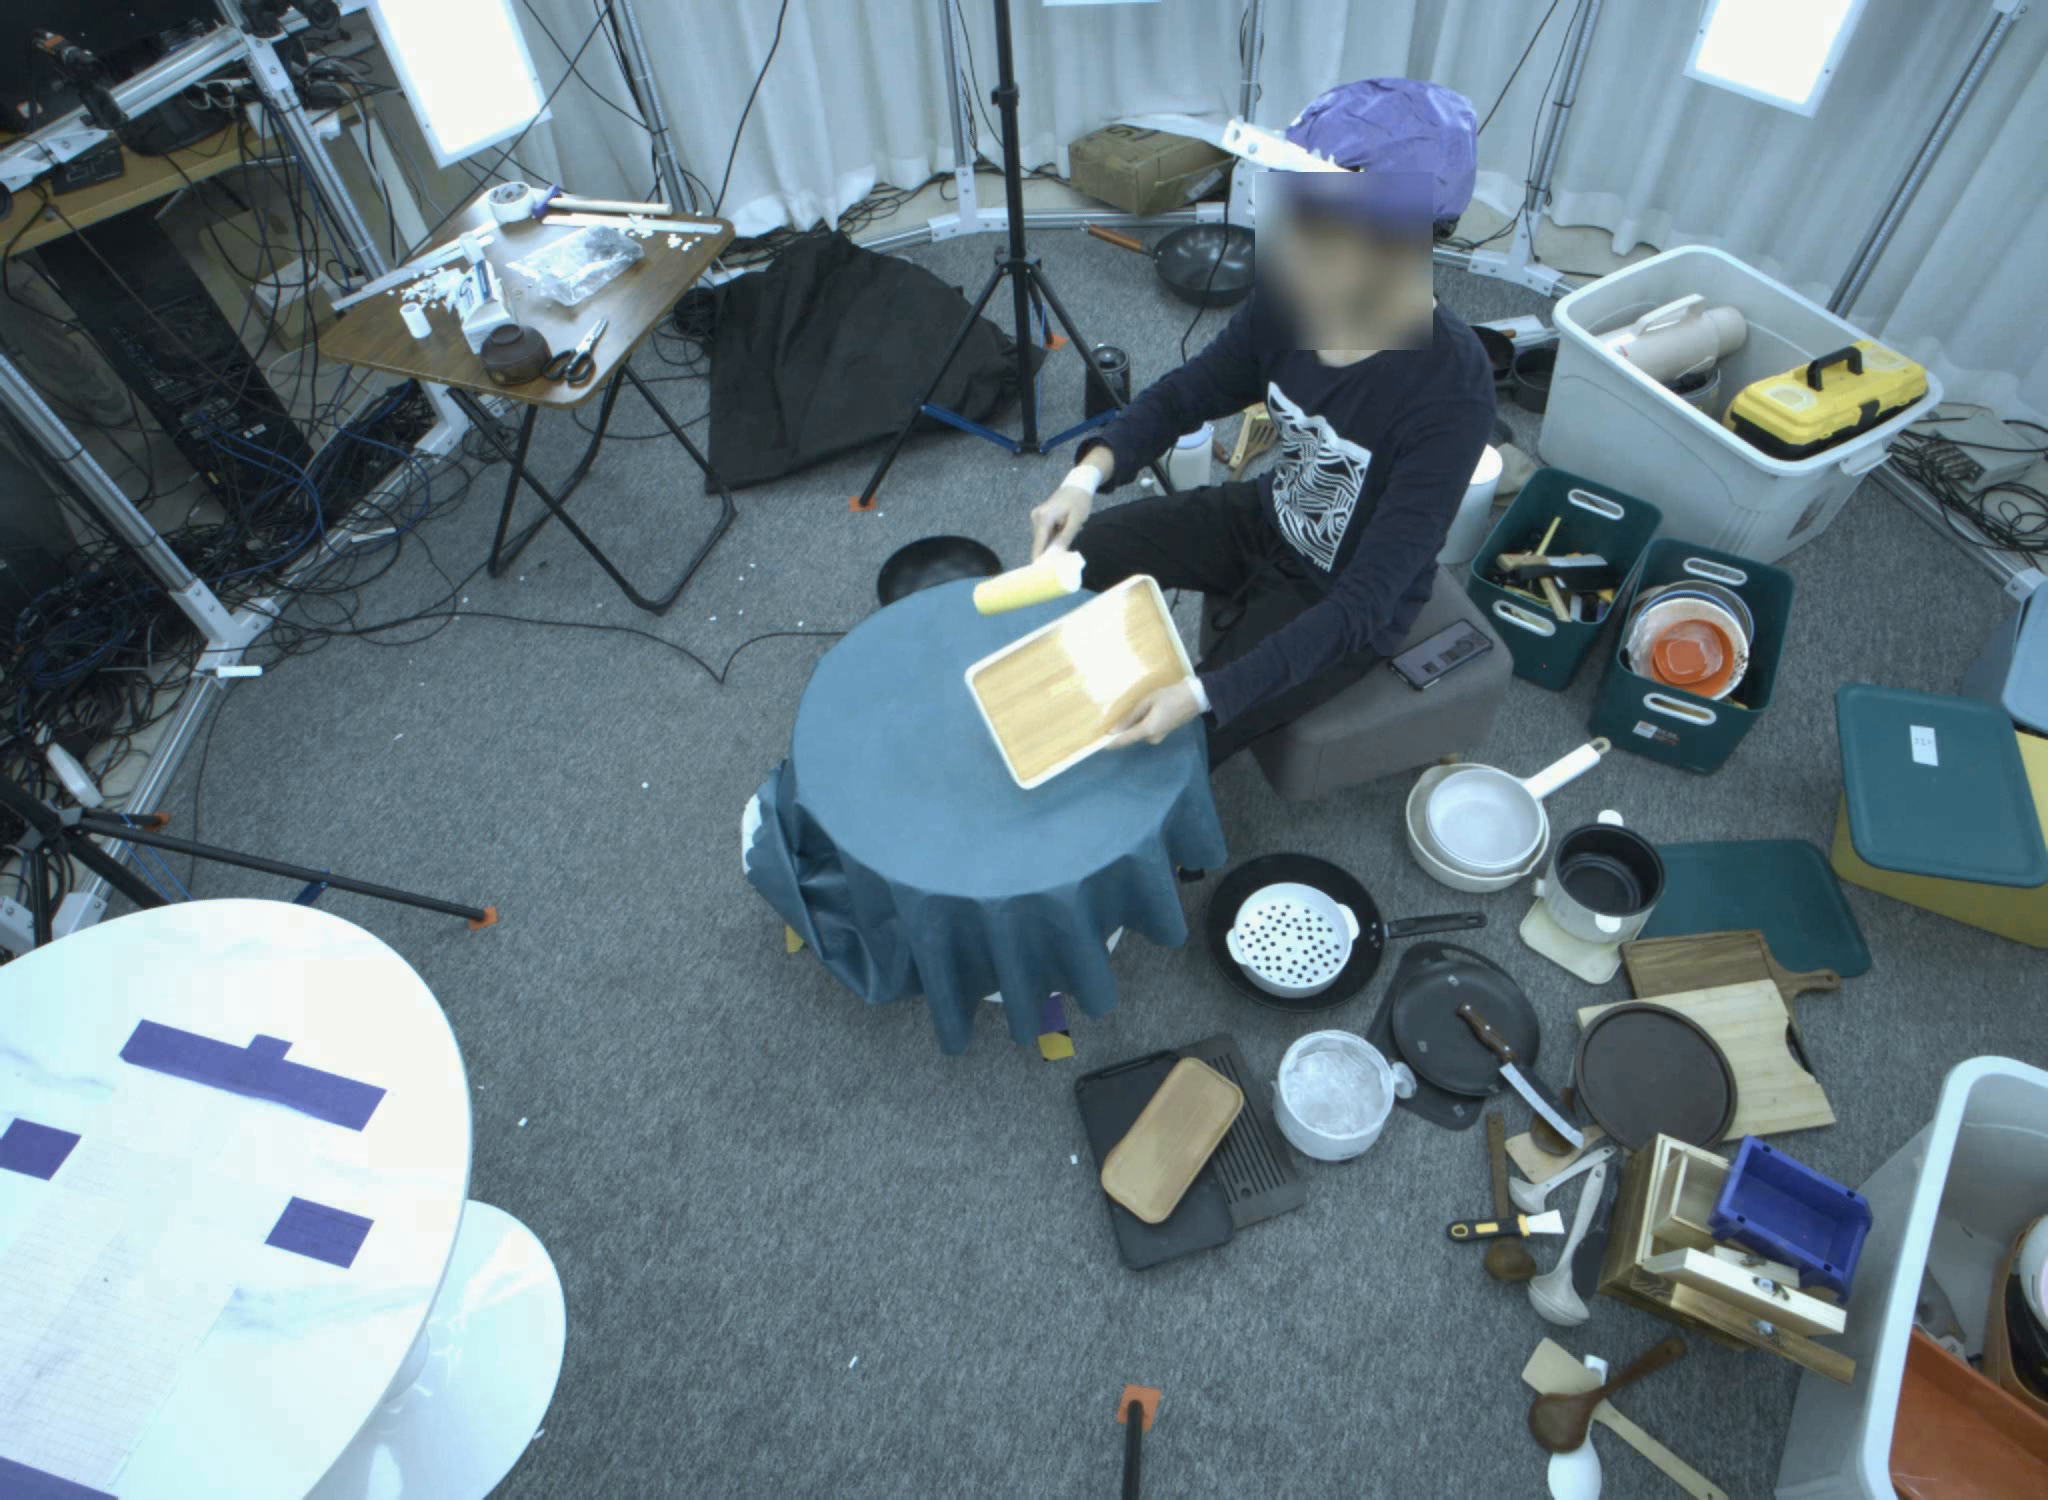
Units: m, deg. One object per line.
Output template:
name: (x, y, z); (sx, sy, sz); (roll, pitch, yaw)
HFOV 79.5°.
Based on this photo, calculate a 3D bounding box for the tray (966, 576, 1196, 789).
tray: (0.084, -0.095, 1.706); (0.302, 0.194, 0.027); (-30, 24, -13)

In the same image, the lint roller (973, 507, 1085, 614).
lint roller: (0.025, -0.281, 1.713); (0.171, 0.052, 0.191); (-10, 49, 41)
